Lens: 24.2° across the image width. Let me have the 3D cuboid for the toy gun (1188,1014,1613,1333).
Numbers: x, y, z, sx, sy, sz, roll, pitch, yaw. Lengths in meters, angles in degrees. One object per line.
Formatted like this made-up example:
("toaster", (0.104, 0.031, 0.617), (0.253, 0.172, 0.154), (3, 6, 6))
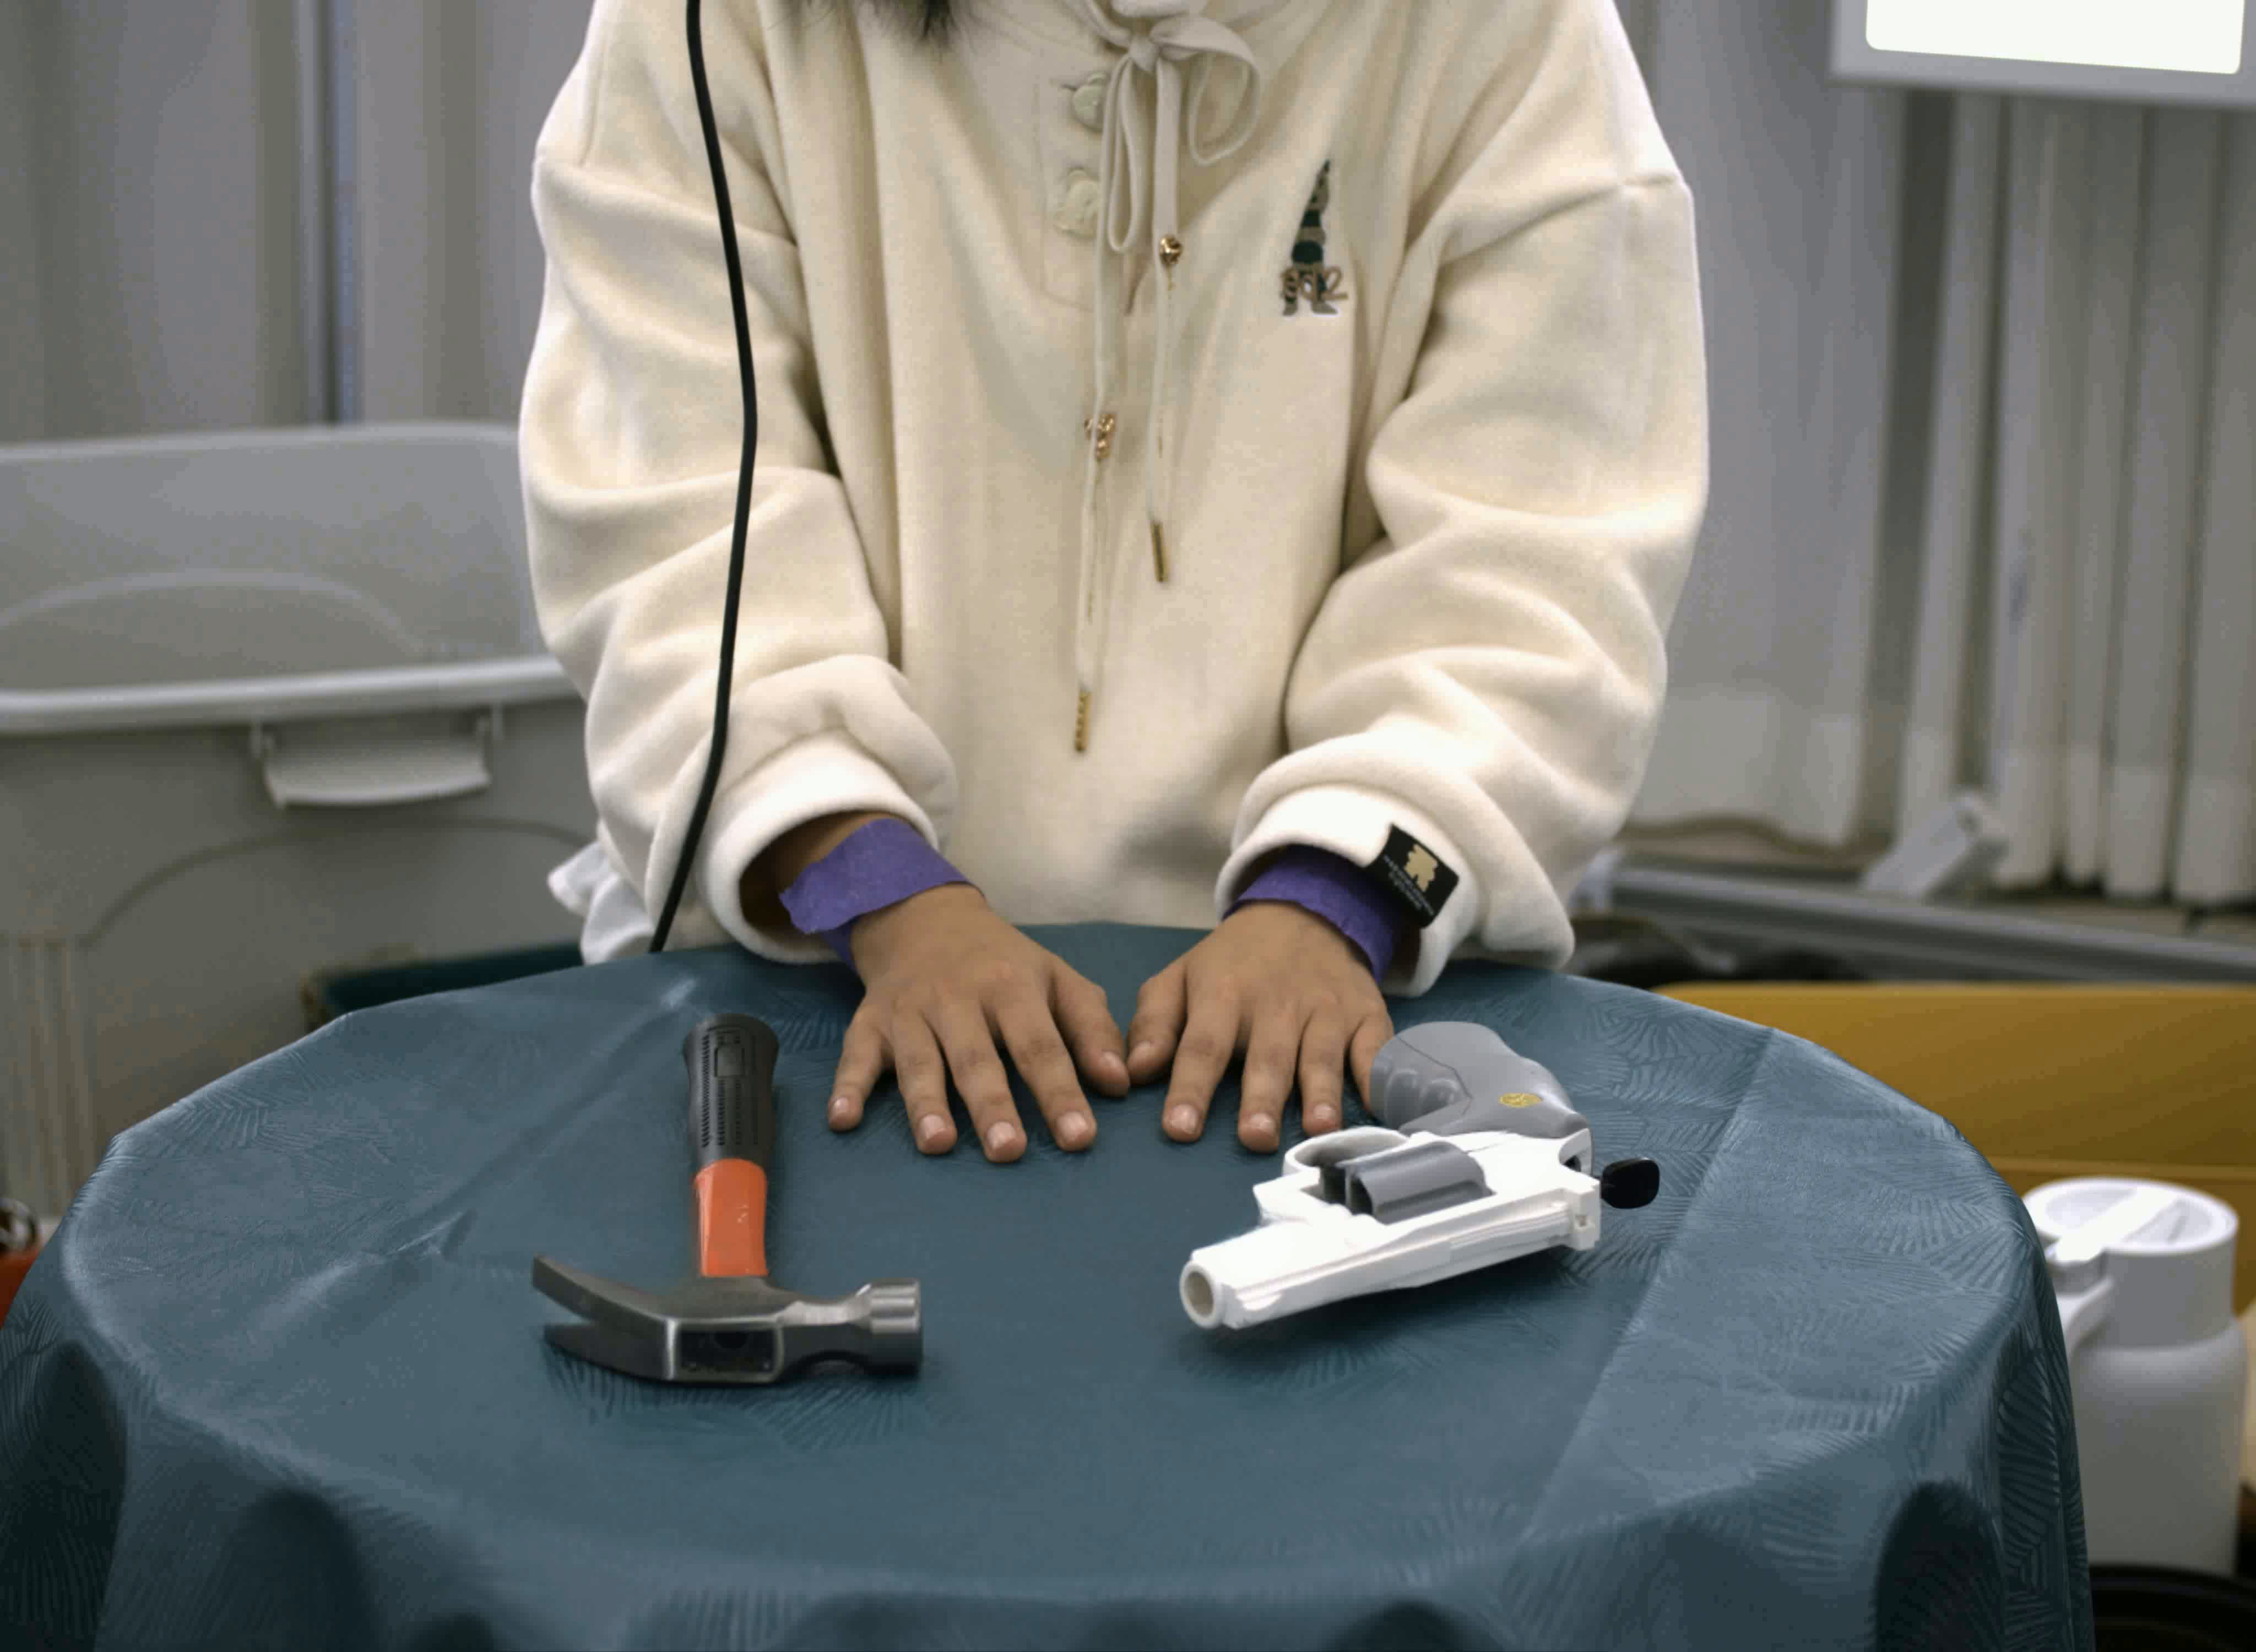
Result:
("toy gun", (0.073, 0.104, 1.579), (0.210, 0.039, 0.139), (-12, 21, -38))

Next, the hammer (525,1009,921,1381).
("hammer", (-0.121, 0.106, 1.585), (0.110, 0.026, 0.275), (-10, 15, -1))
